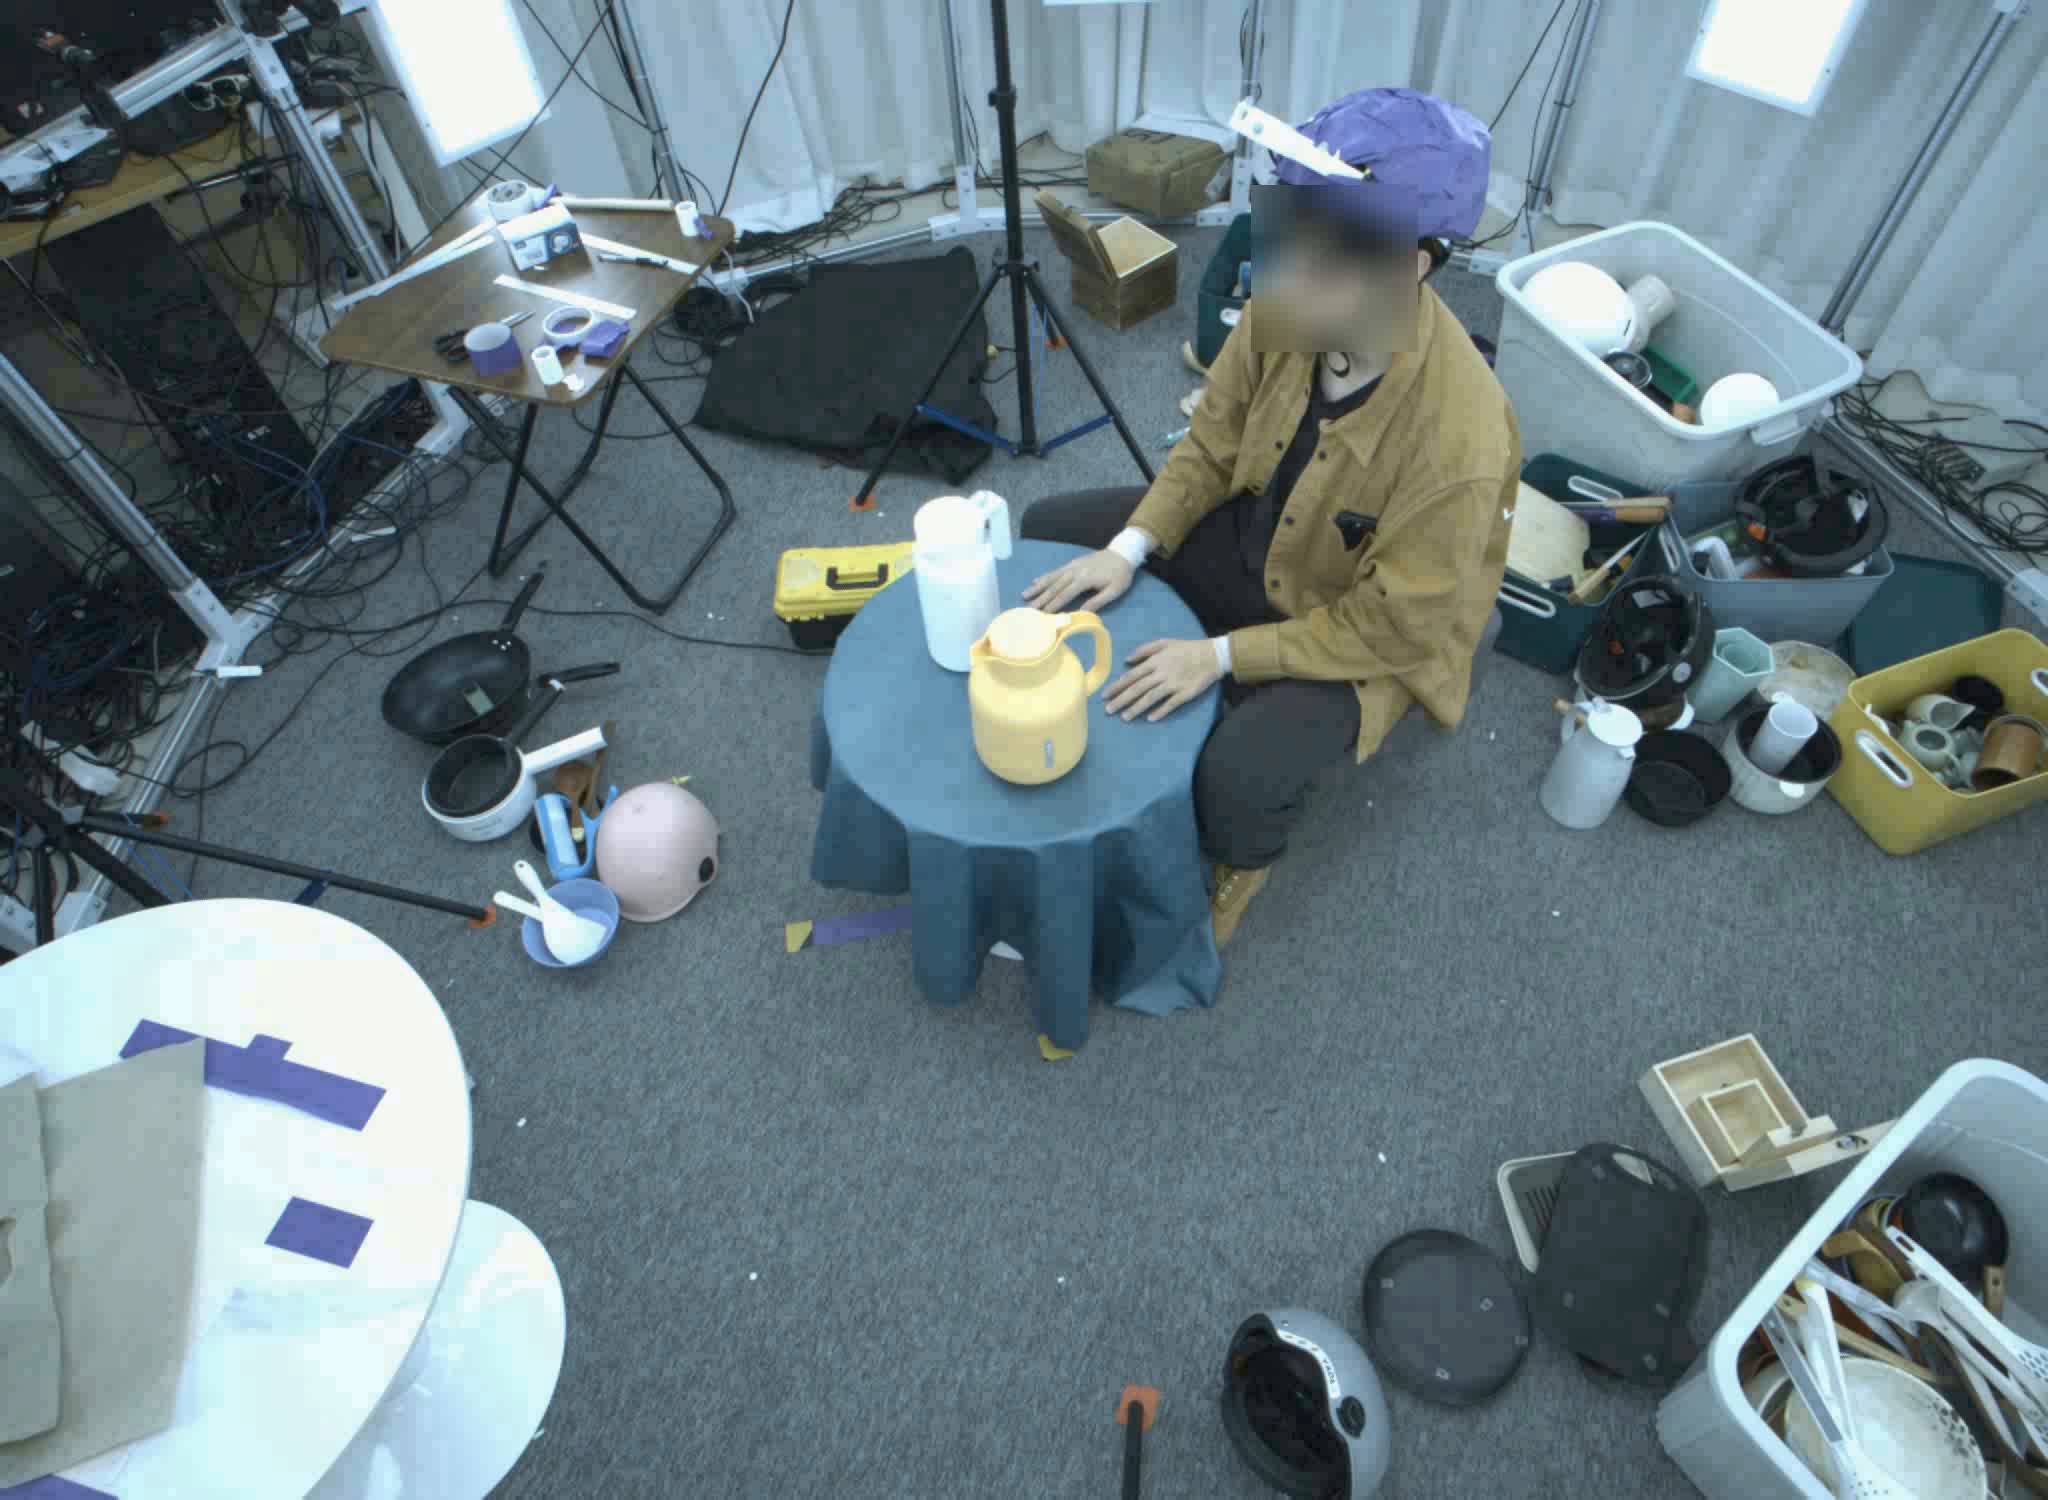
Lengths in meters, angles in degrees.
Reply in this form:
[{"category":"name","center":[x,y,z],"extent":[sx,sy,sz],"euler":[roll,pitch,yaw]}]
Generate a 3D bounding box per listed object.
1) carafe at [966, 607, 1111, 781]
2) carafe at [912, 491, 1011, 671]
[{"category":"carafe","center":[0.022,-0.087,1.682],"extent":[0.203,0.263,0.161],"euler":[-19,58,-8]},{"category":"carafe","center":[-0.088,-0.253,1.801],"extent":[0.121,0.272,0.174],"euler":[33,62,26]}]
